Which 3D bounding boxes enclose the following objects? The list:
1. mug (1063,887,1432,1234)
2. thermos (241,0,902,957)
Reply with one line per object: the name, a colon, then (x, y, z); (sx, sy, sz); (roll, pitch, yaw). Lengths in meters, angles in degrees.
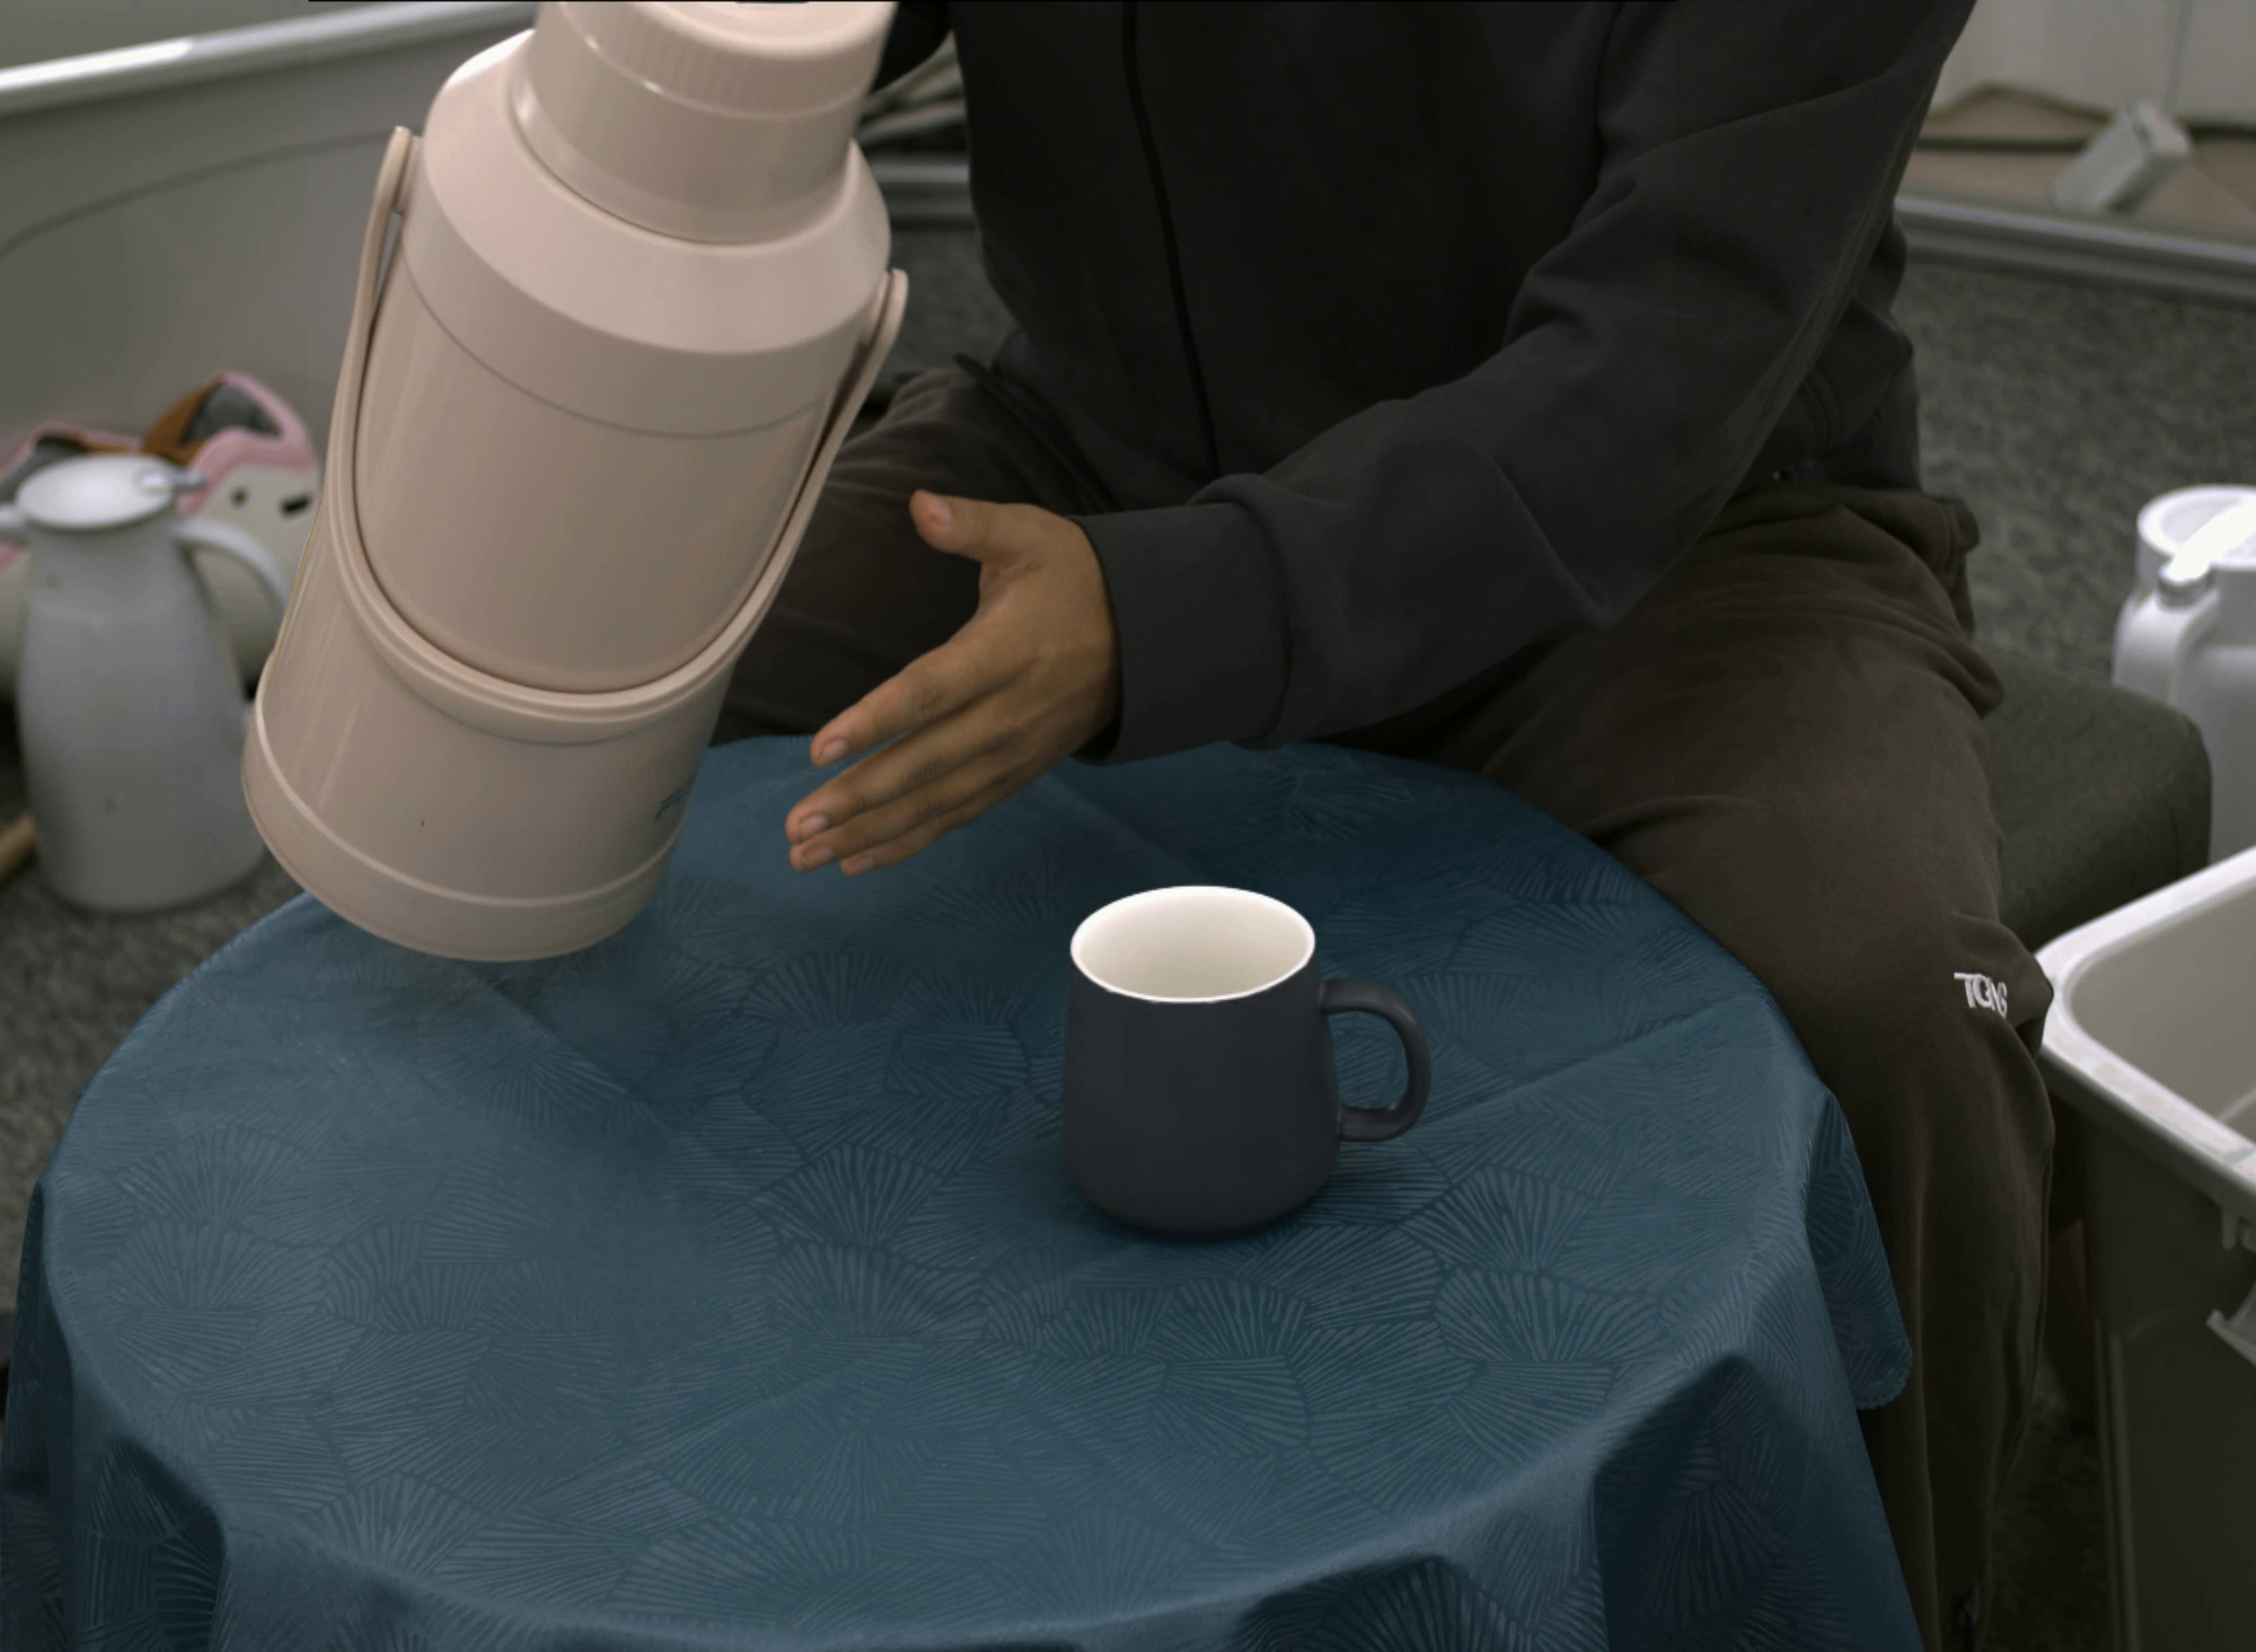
mug: (0.038, 0.078, 1.848); (0.122, 0.089, 0.095); (1, 27, 8)
thermos: (-0.181, -0.153, 1.906); (0.175, 0.399, 0.211); (15, 42, -9)
